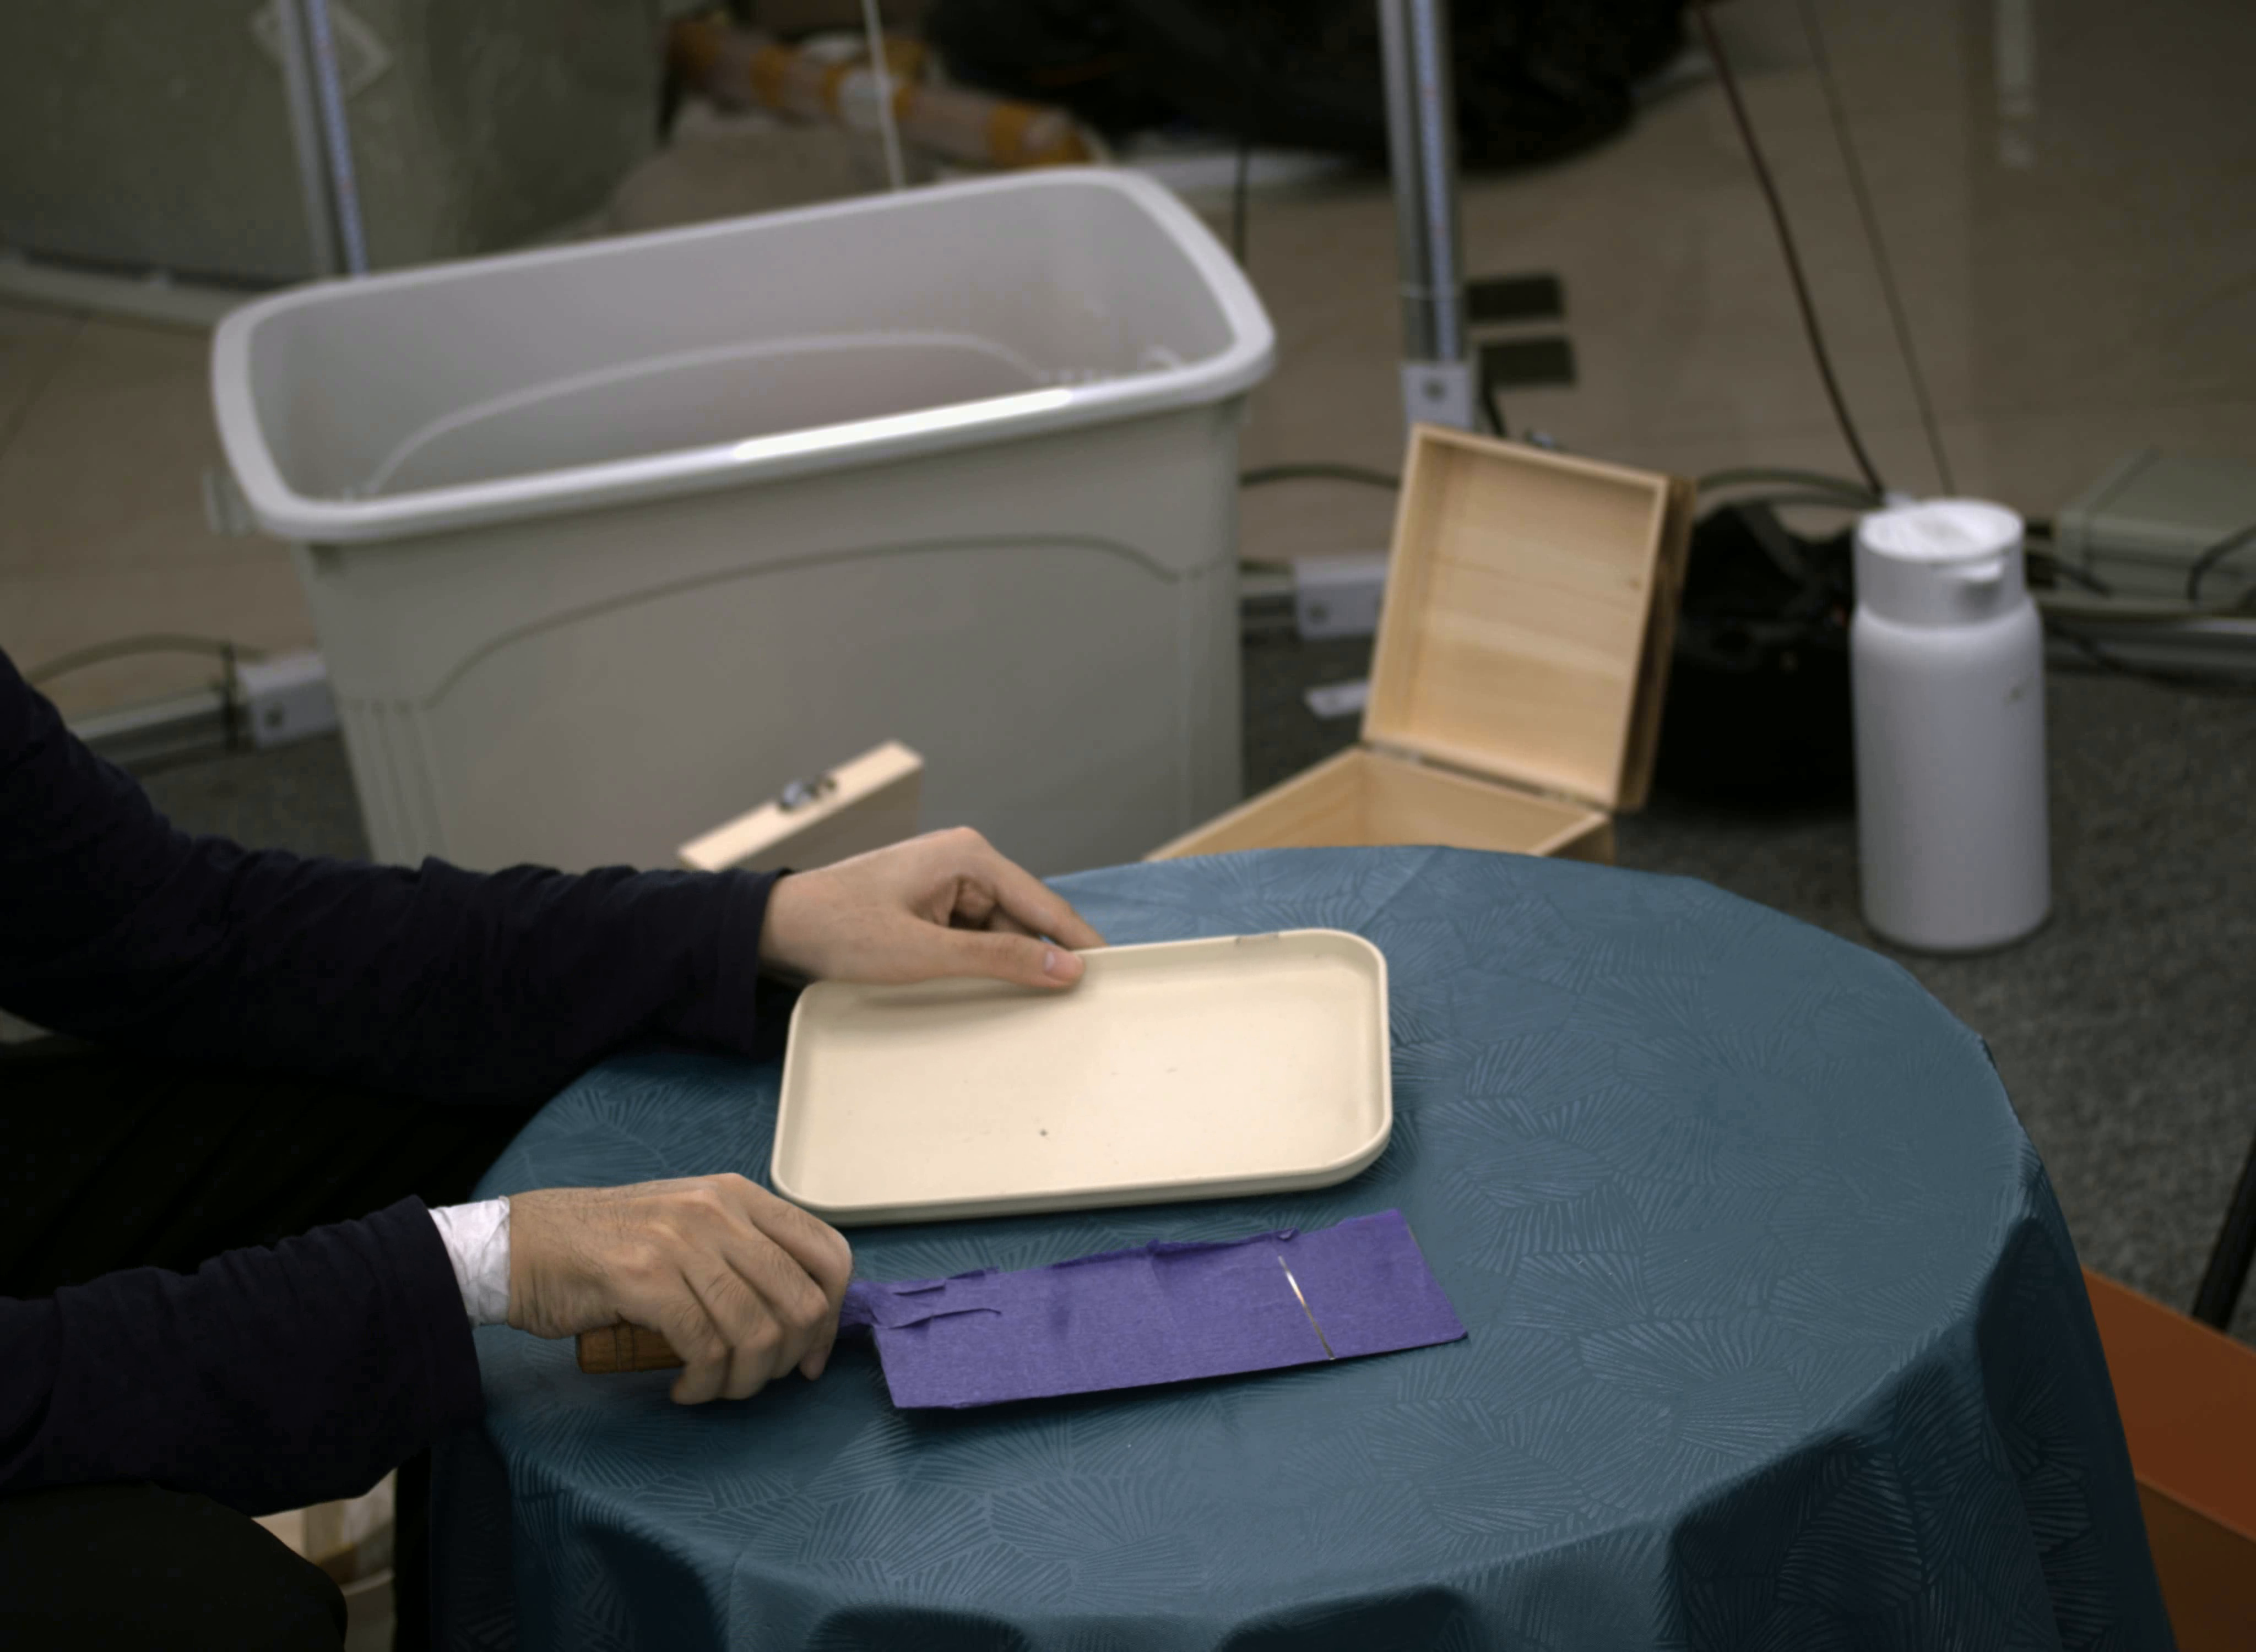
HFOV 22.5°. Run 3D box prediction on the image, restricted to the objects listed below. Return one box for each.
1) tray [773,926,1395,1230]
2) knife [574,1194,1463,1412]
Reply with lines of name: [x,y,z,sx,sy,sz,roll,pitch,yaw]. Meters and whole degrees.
tray: [-0.016,0.099,2.201,0.239,0.018,0.168,-5,32,5]
knife: [-0.039,0.177,2.040,0.314,0.033,0.102,-9,25,-8]
